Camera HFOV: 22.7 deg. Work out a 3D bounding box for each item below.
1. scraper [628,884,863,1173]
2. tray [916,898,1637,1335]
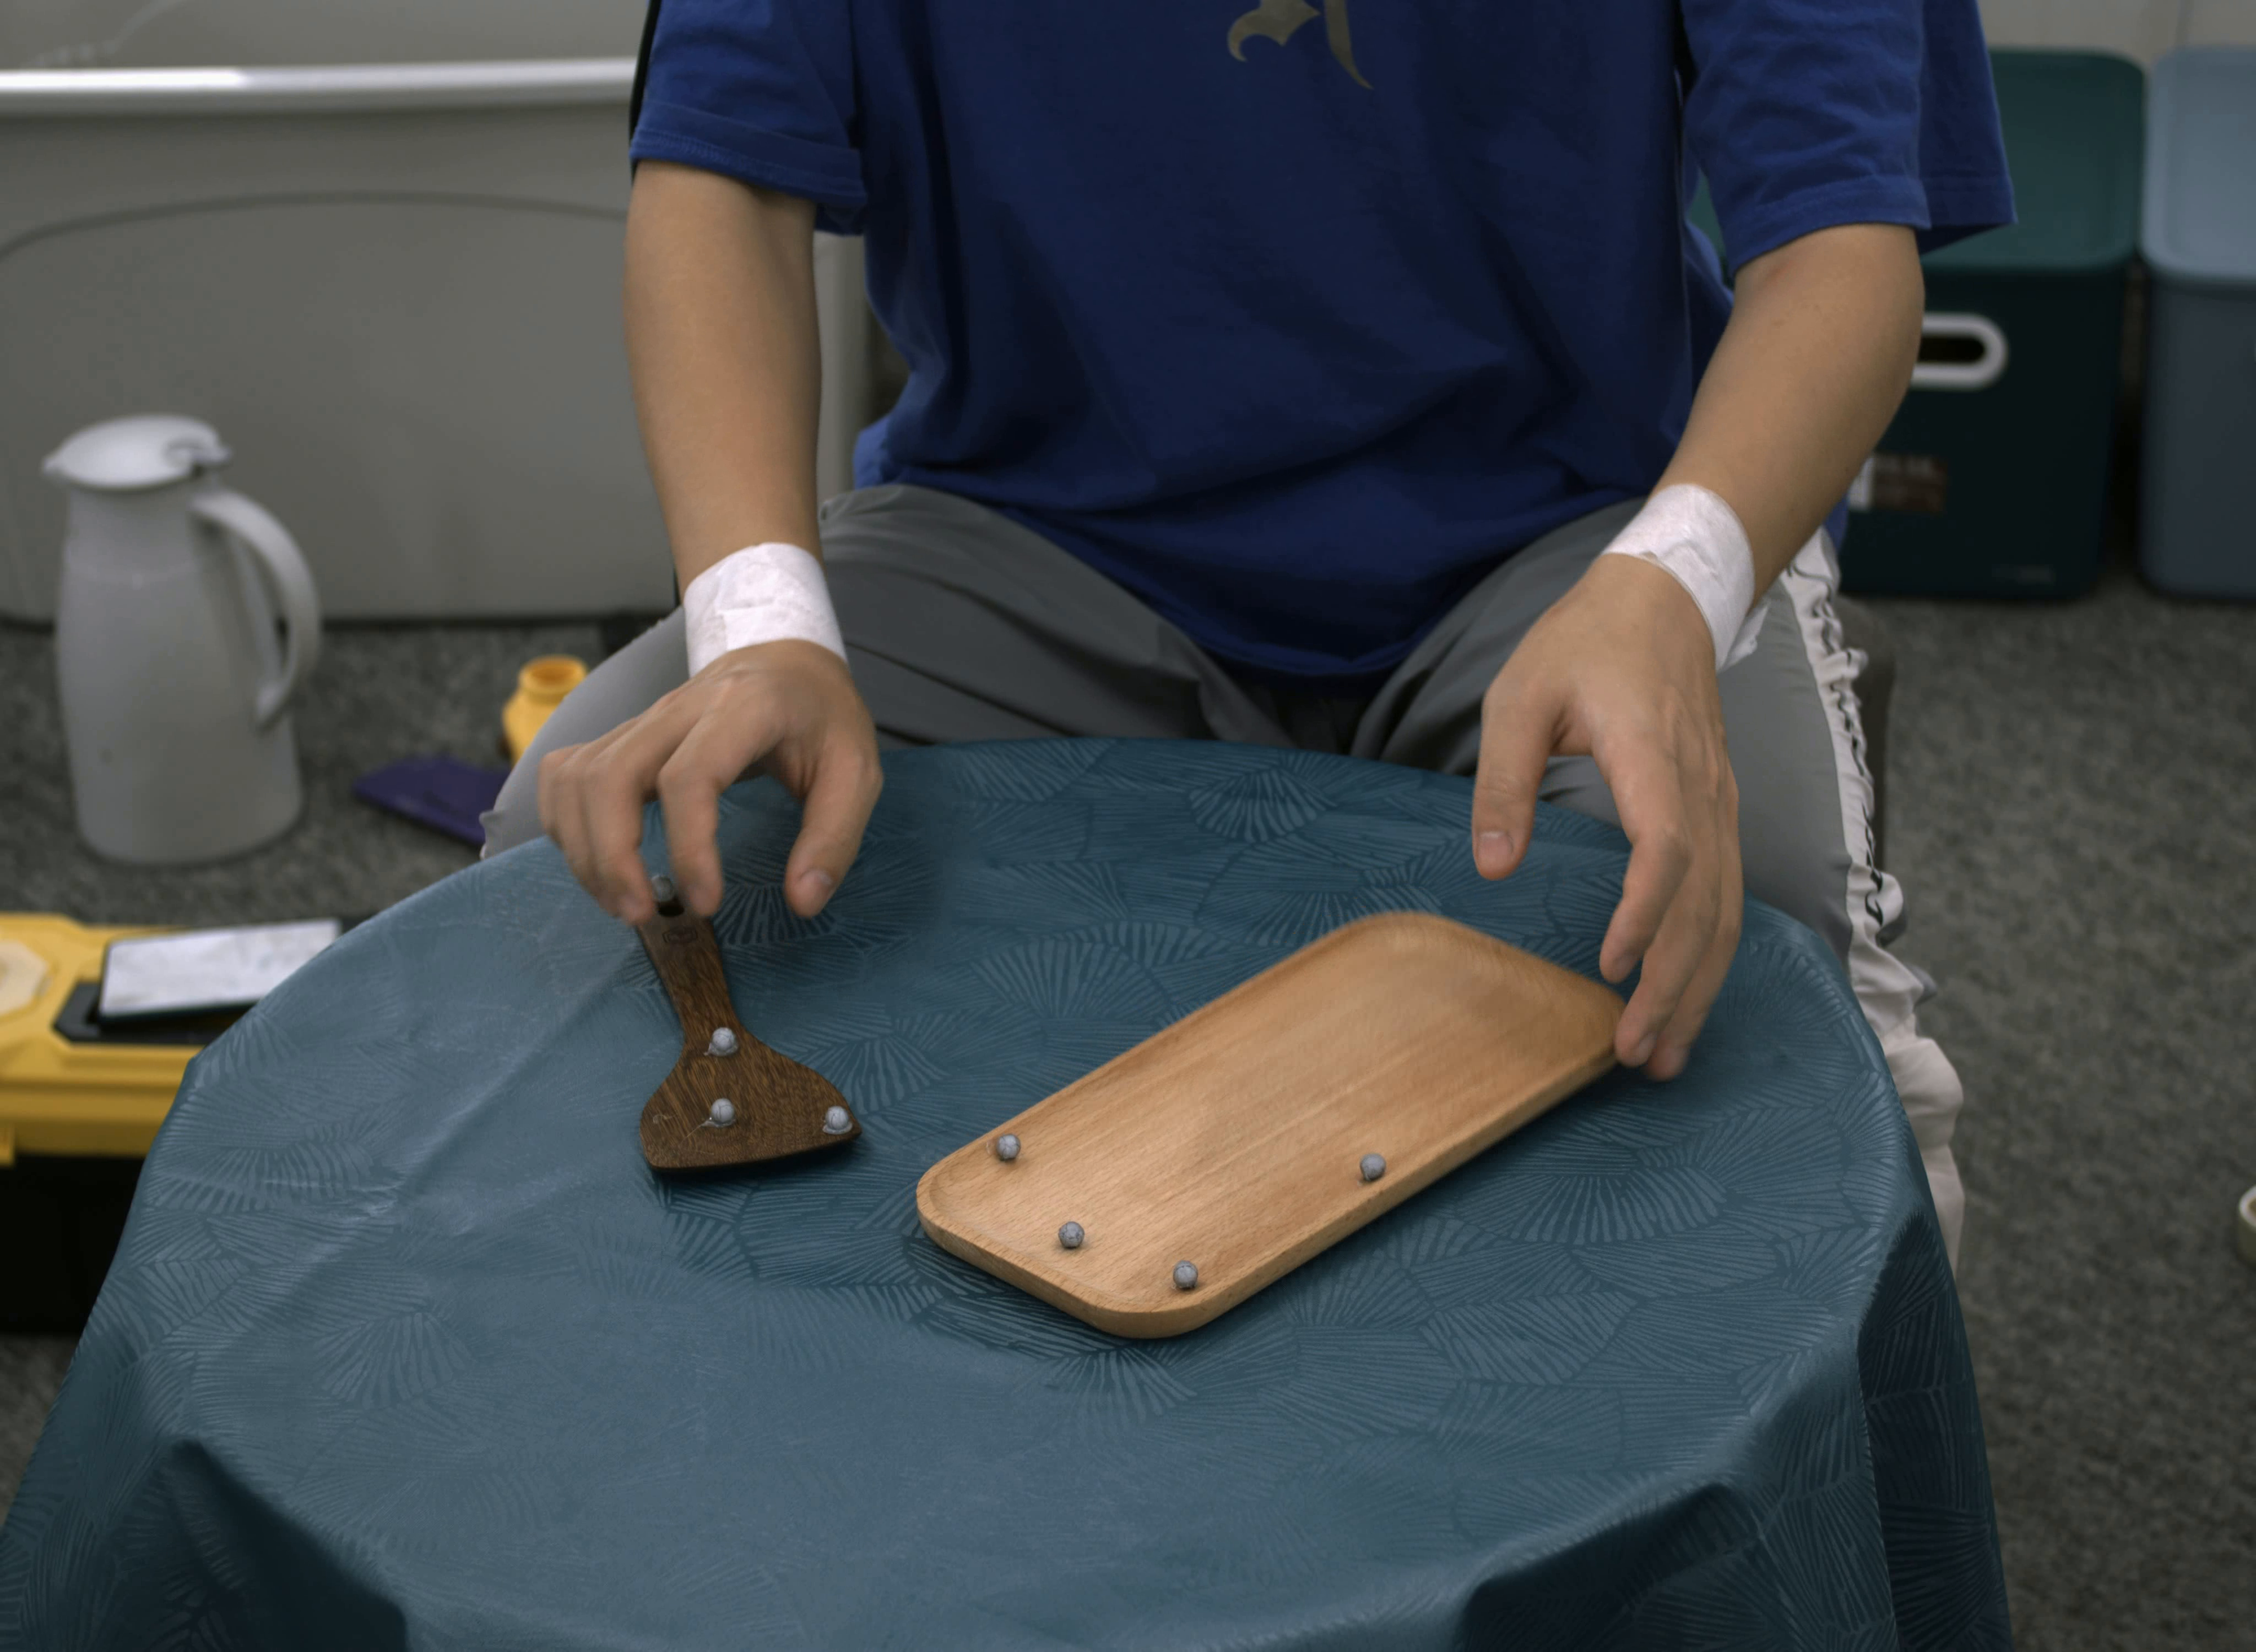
[{"bbox_3d":[-0.146,0.070,1.966,0.076,0.011,0.213,-8,27,-11],"label":"scraper"},{"bbox_3d":[0.052,0.095,1.878,0.254,0.022,0.130,-28,39,-36],"label":"tray"}]
